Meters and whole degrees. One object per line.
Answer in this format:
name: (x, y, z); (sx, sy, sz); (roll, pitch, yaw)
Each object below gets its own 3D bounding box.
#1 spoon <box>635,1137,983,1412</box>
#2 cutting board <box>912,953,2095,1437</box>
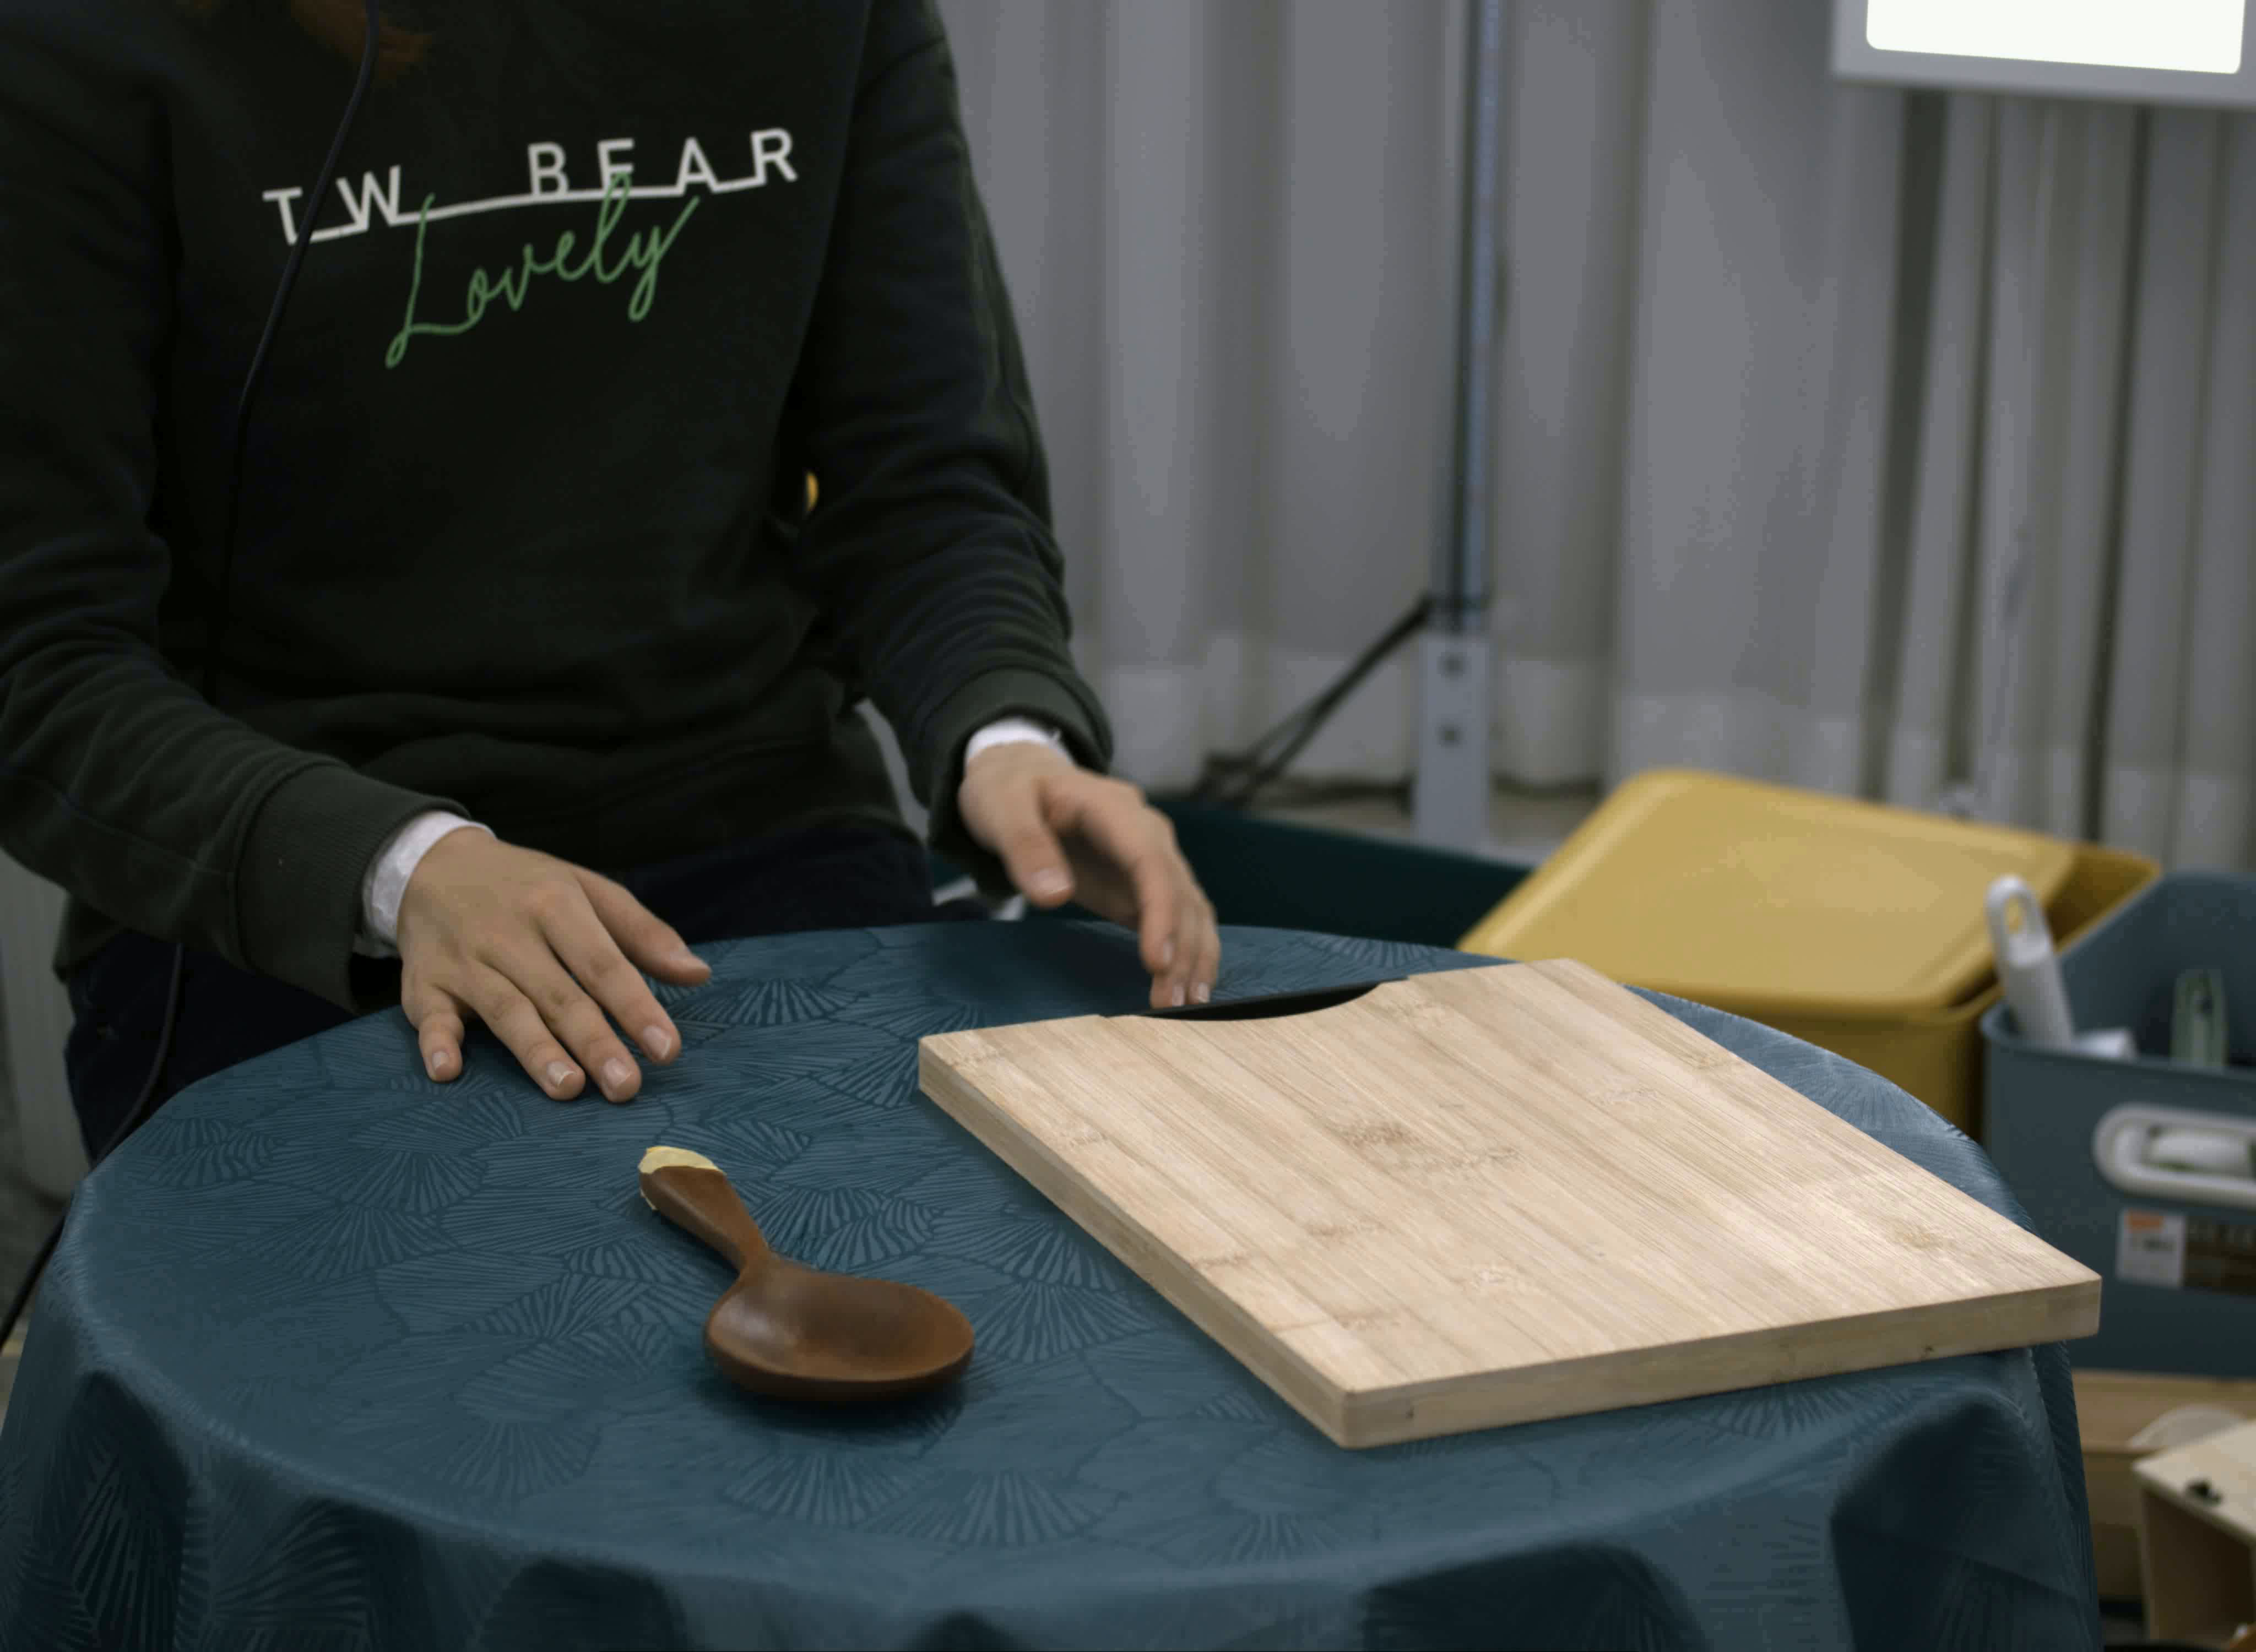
spoon: (-0.102, 0.130, 1.527); (0.075, 0.017, 0.213); (-7, 18, -21)
cutting board: (0.103, 0.107, 1.622); (0.251, 0.024, 0.344); (-6, 17, -23)
